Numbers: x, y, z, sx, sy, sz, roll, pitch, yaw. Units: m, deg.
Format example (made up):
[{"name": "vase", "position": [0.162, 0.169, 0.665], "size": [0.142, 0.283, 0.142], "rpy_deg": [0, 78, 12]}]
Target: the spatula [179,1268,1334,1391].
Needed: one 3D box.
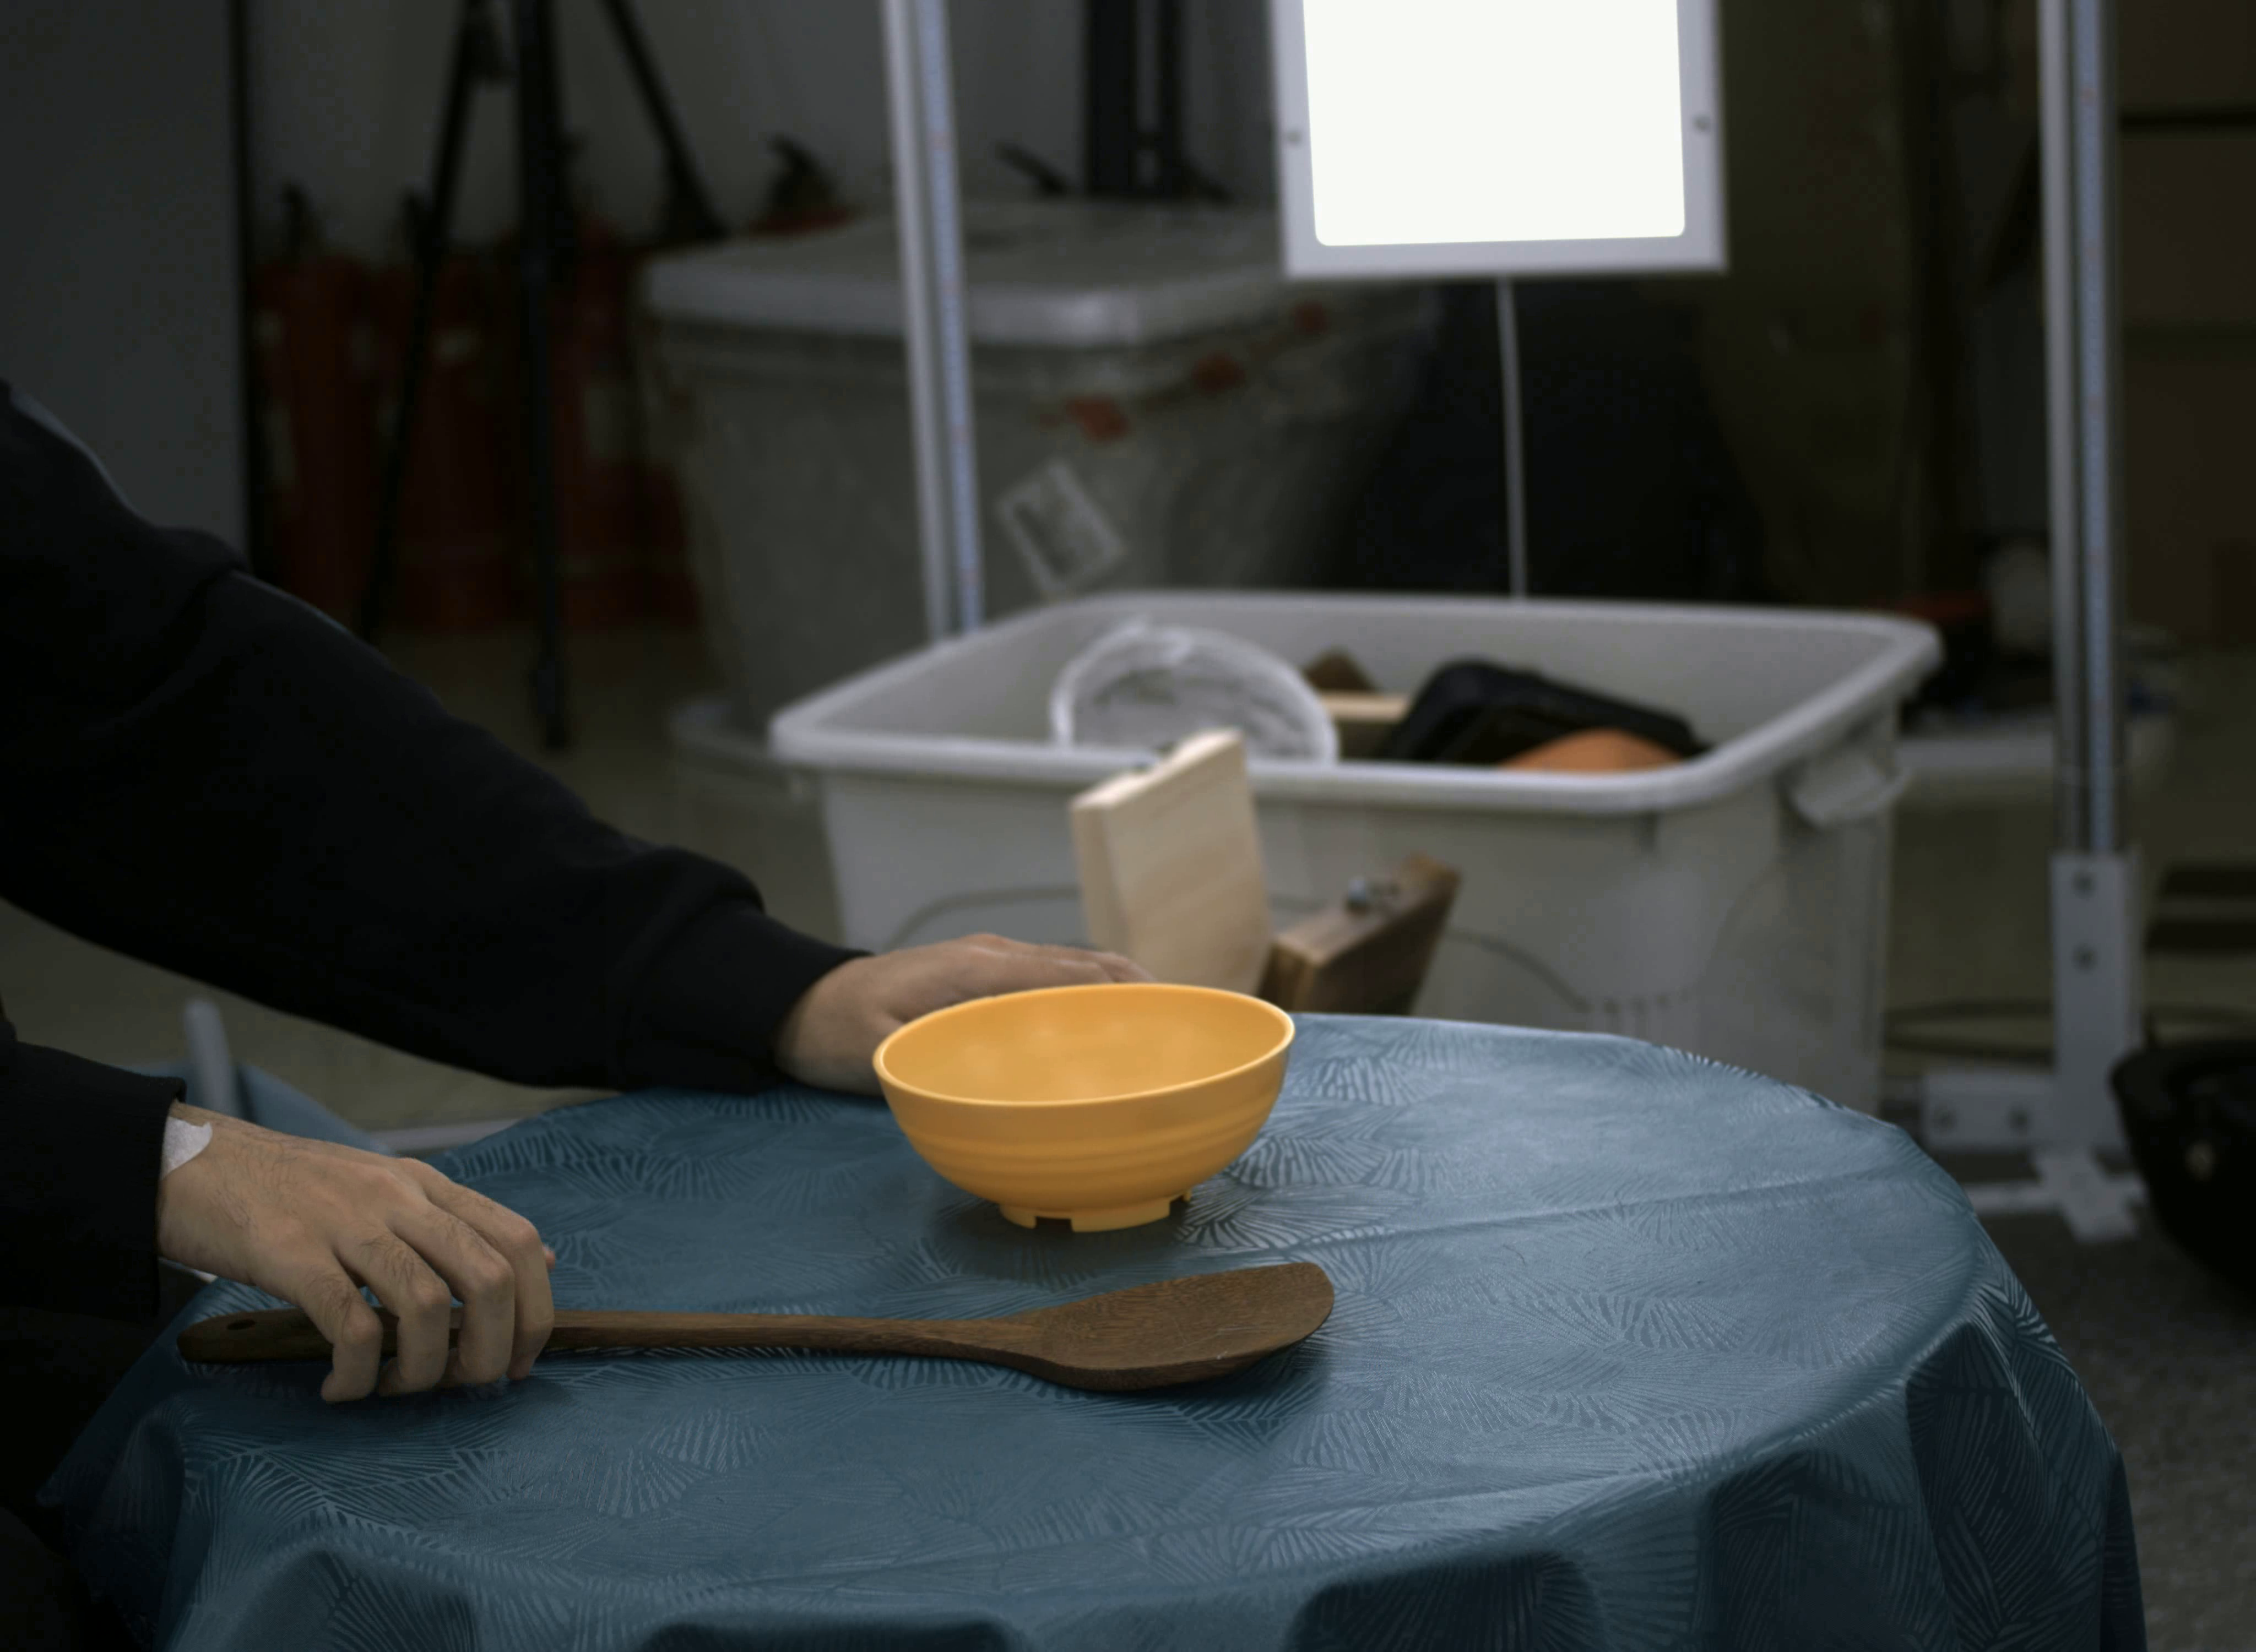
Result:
[{"name": "spatula", "position": [-0.124, 0.162, 1.769], "size": [0.389, 0.016, 0.095], "rpy_deg": [-1, 14, 15]}]

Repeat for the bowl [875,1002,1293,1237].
[{"name": "bowl", "position": [-0.013, 0.103, 1.881], "size": [0.145, 0.060, 0.145], "rpy_deg": [-5, 11, 0]}]
